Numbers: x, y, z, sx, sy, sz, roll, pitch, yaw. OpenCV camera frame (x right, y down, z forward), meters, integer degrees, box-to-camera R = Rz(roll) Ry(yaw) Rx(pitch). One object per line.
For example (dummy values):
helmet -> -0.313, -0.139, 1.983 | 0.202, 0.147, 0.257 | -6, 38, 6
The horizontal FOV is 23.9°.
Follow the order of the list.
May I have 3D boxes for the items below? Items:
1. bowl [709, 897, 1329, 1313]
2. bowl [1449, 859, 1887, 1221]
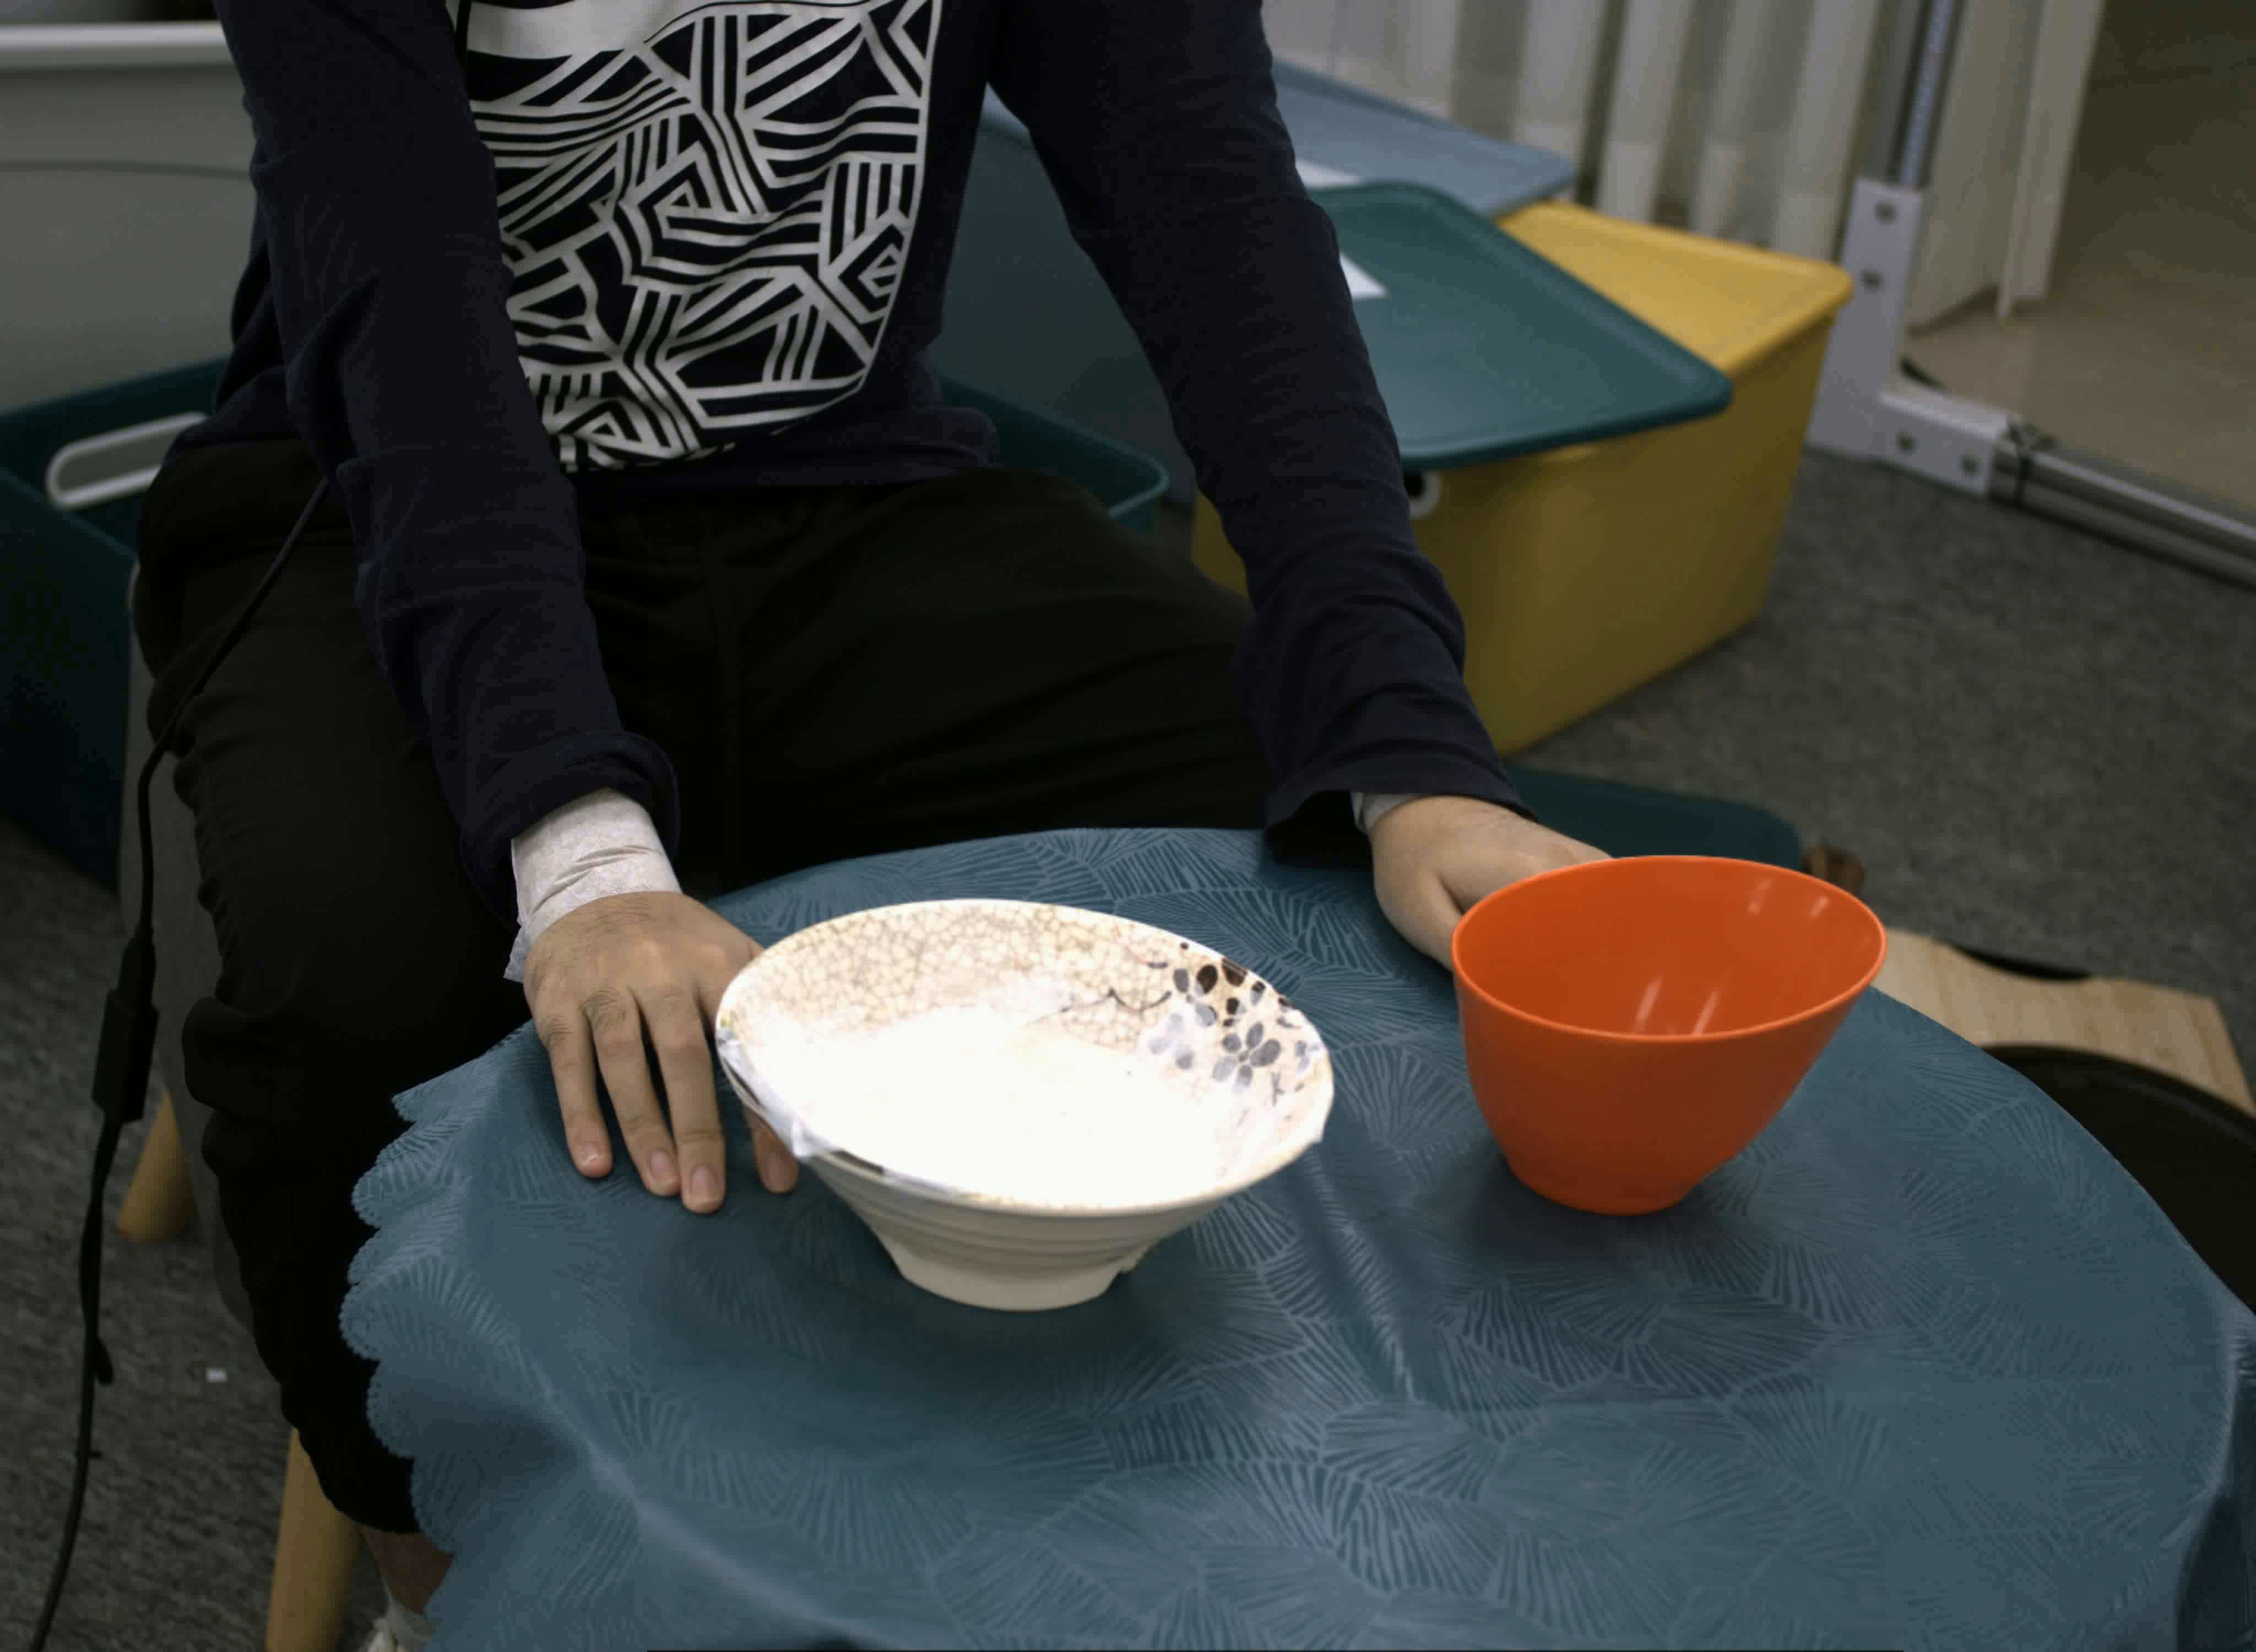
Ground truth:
bowl -> -0.039, 0.105, 1.749 | 0.203, 0.078, 0.205 | 6, 26, -3
bowl -> 0.179, 0.078, 1.827 | 0.147, 0.104, 0.149 | 4, 26, -2
